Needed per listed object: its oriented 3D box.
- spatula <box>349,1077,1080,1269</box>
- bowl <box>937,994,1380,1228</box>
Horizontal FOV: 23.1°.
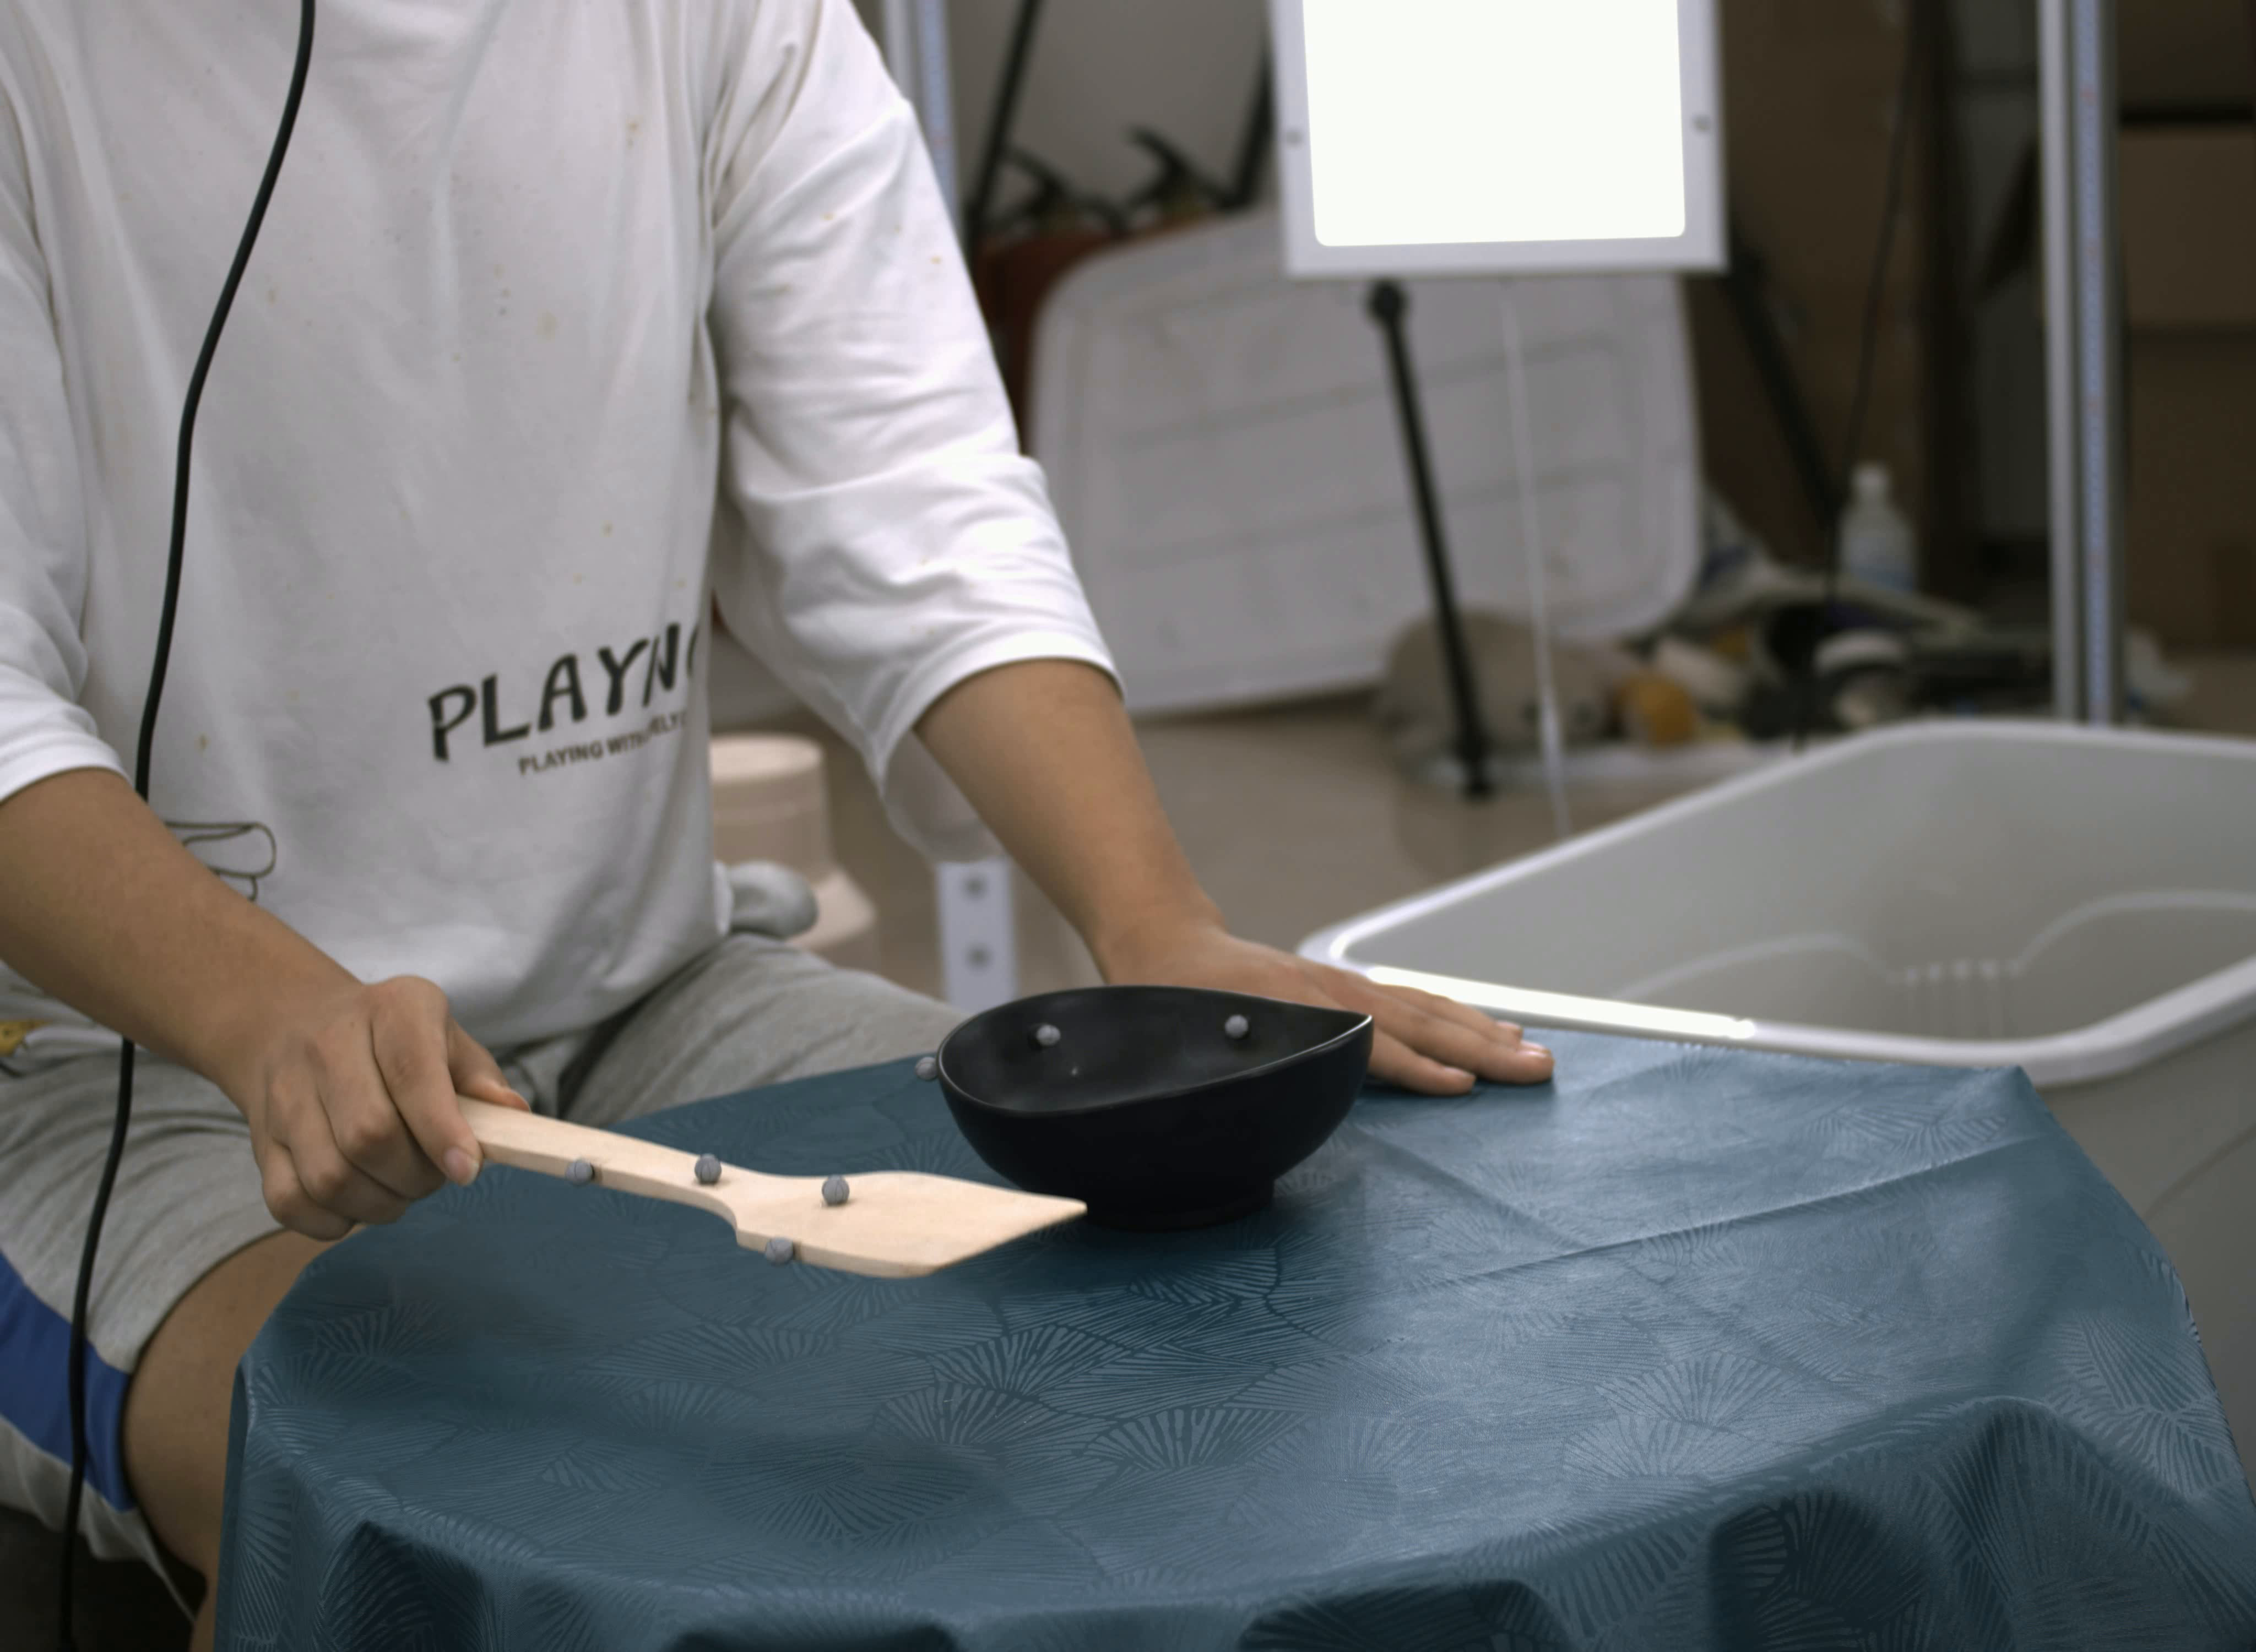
[{"bbox_3d":[-0.142,0.105,1.711,0.299,0.011,0.070,8,20,43],"label":"spatula"},{"bbox_3d":[0.013,0.098,1.877,0.140,0.067,0.166,6,15,40],"label":"bowl"}]
